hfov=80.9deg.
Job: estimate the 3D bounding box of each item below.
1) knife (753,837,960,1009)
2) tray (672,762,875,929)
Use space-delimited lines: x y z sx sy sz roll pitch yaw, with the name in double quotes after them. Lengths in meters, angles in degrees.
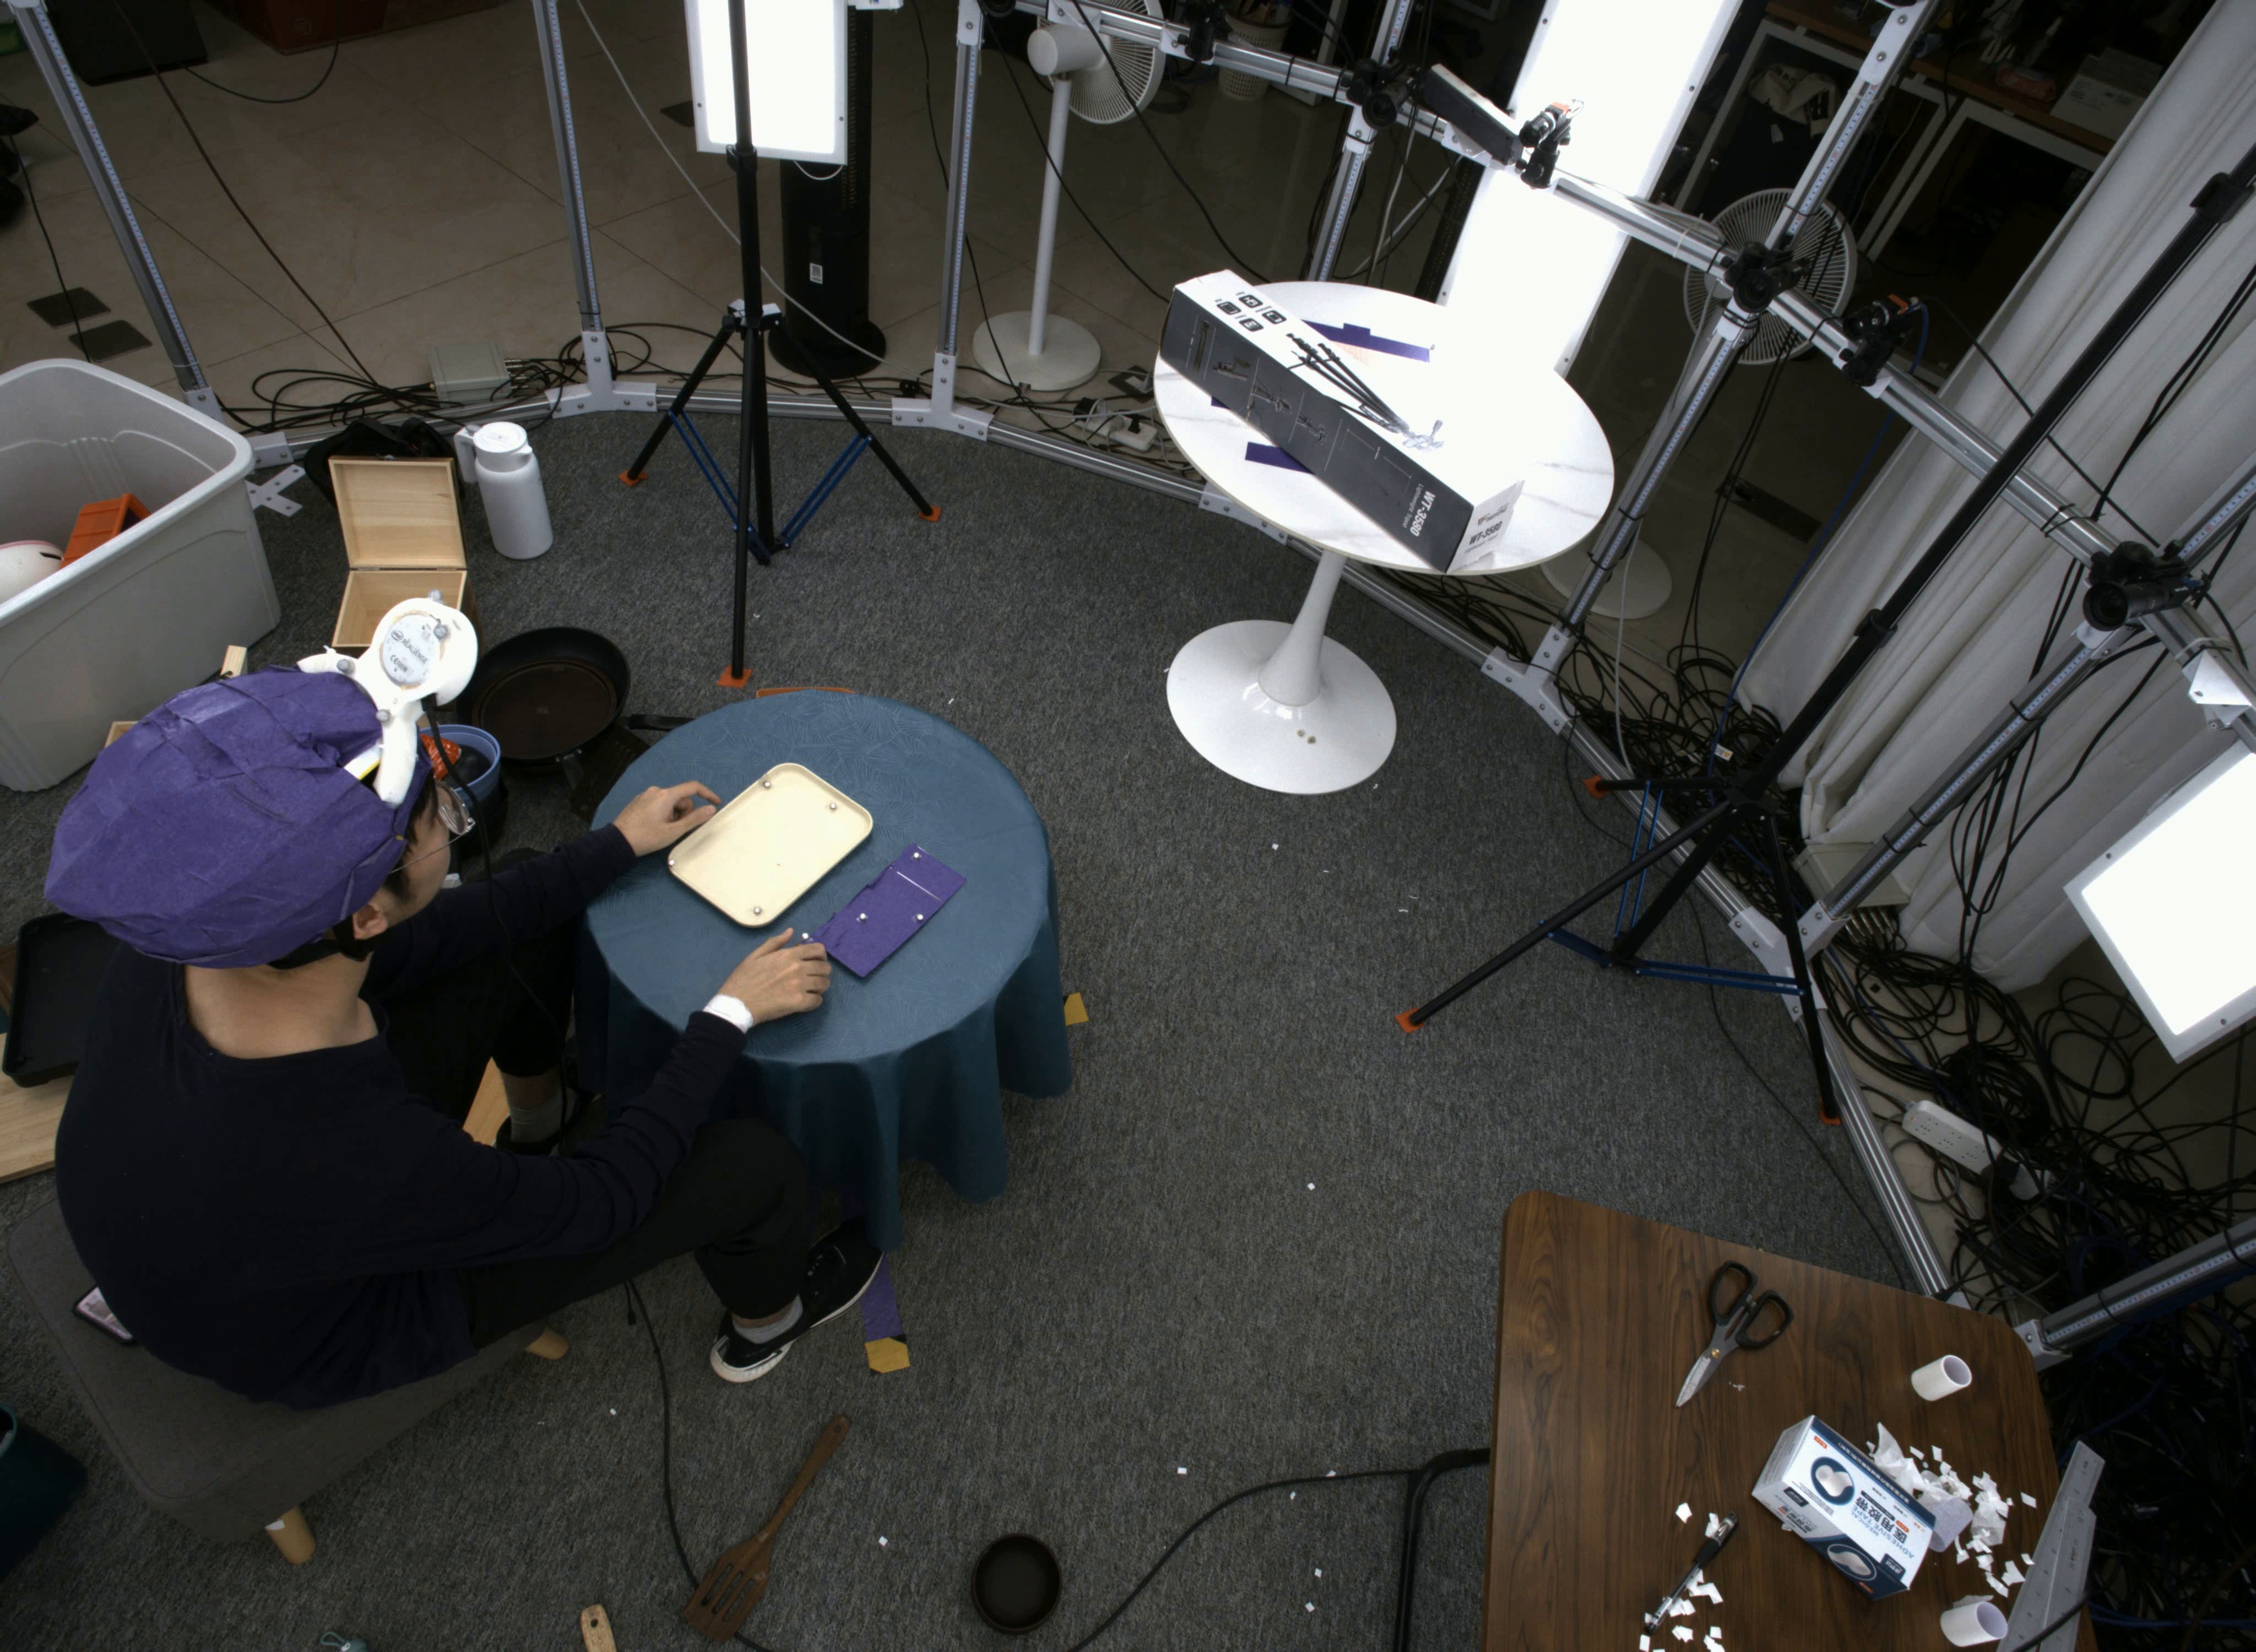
-0.334 0.129 1.645 0.102 0.033 0.314 33 53 12 "knife"
-0.462 0.023 1.697 0.168 0.018 0.239 34 54 11 "tray"
